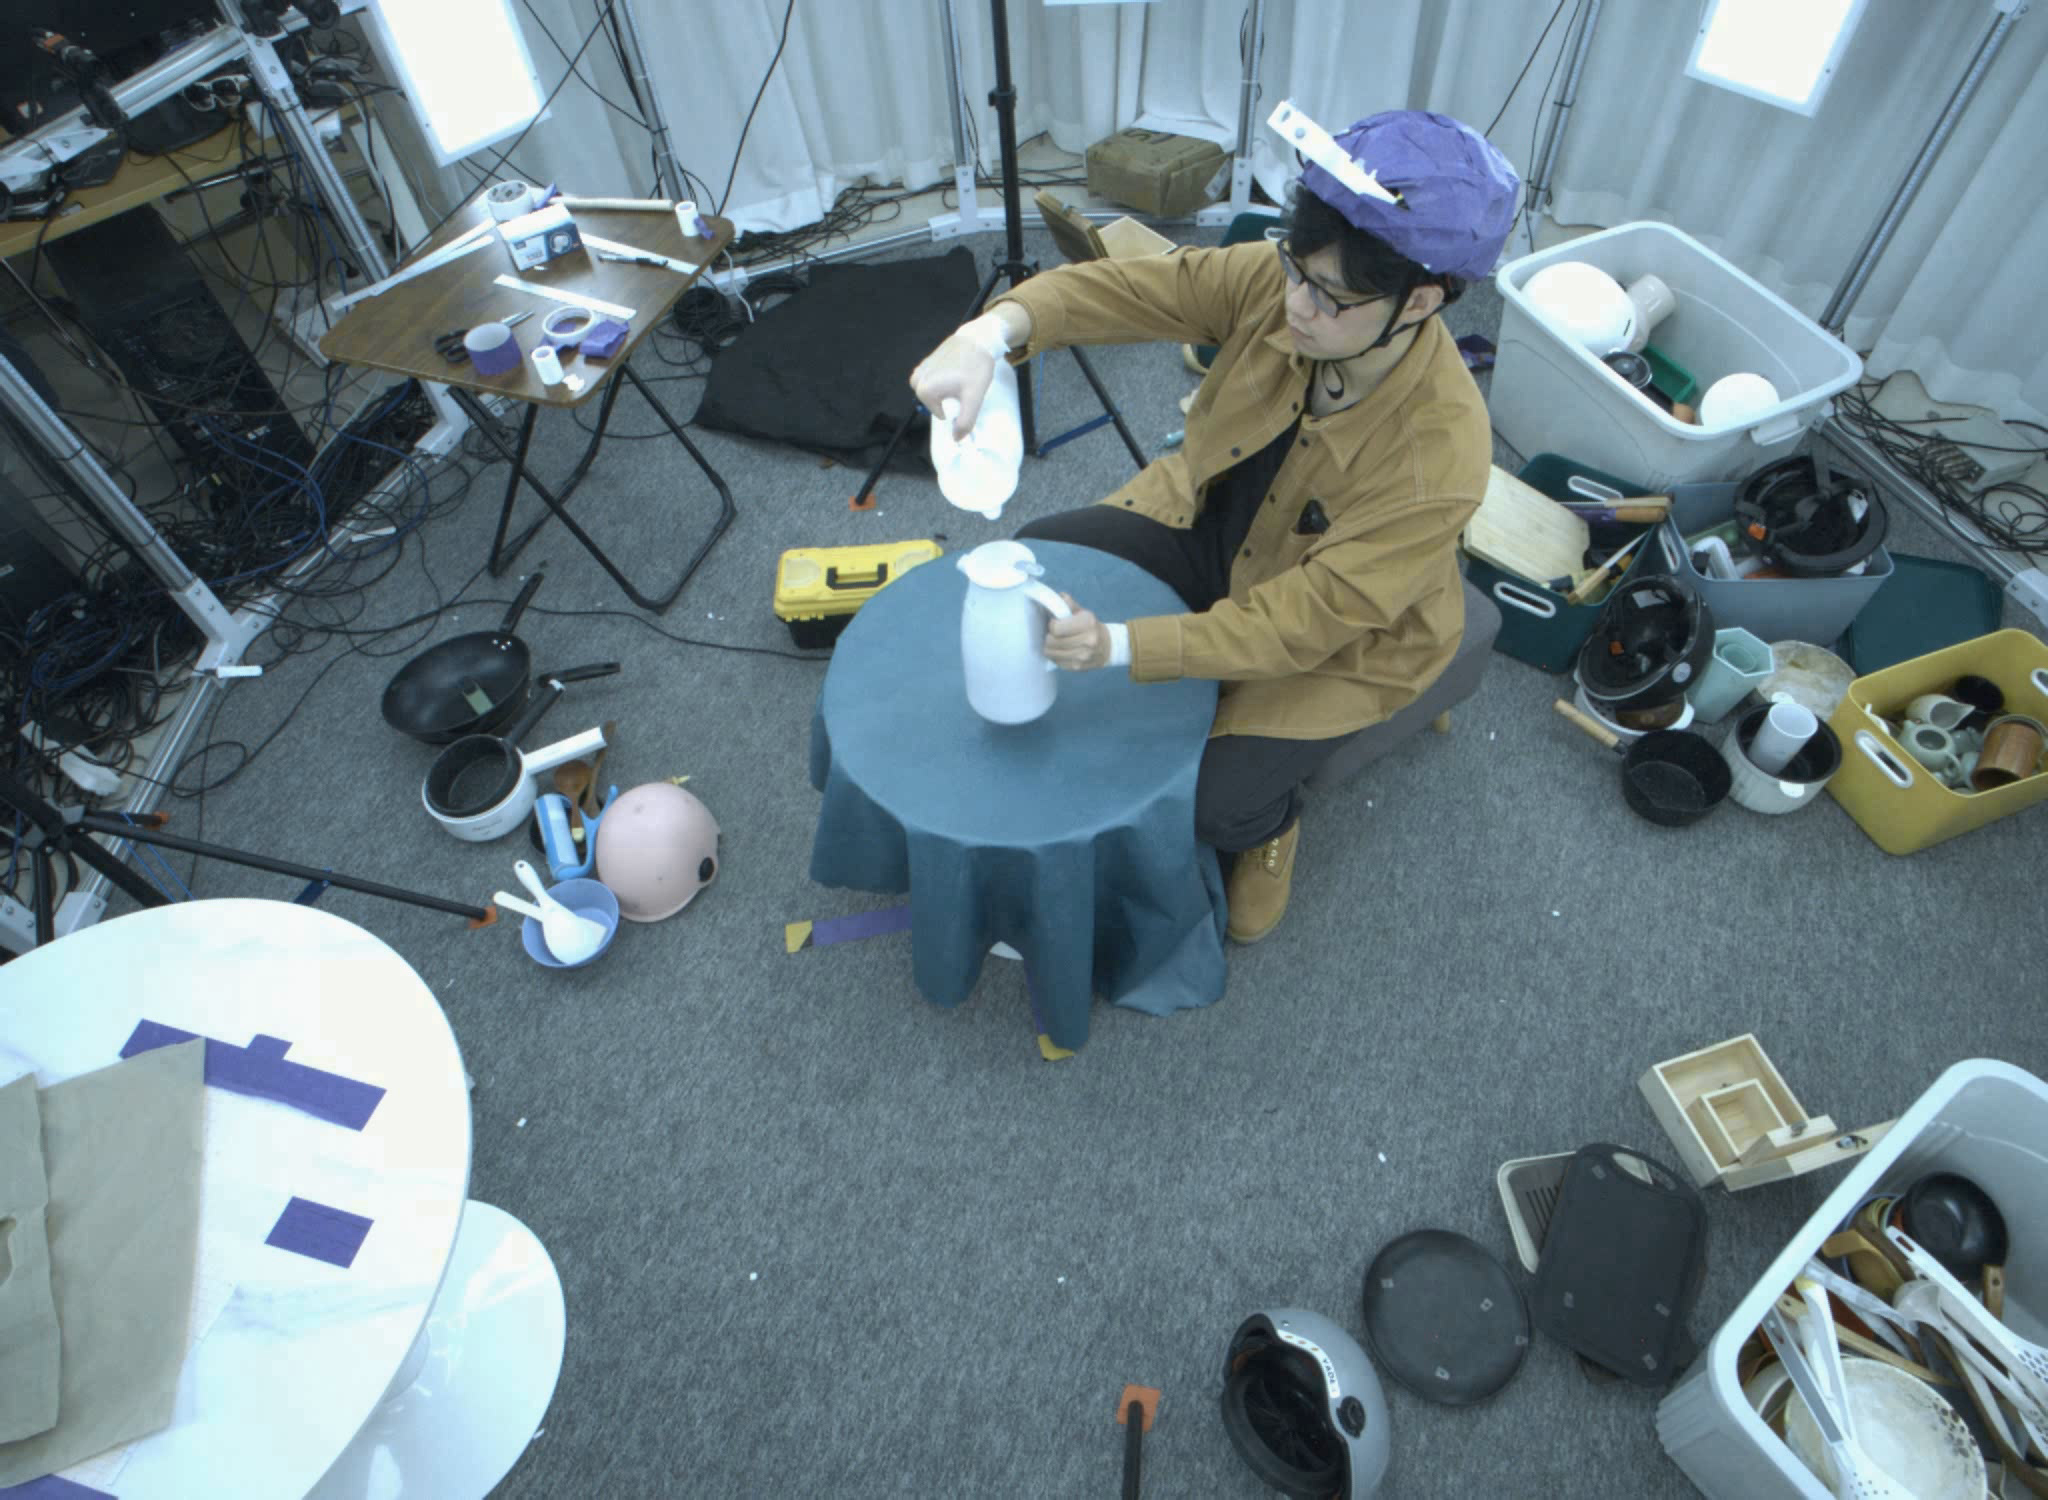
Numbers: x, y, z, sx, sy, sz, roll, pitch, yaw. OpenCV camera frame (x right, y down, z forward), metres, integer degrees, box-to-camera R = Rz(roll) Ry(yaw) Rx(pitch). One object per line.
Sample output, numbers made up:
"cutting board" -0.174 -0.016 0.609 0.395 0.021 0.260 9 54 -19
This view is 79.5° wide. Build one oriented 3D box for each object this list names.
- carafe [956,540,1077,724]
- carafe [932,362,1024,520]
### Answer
"carafe" -0.007 -0.160 1.656 0.165 0.251 0.133 20 55 19
"carafe" -0.070 -0.430 1.567 0.123 0.176 0.265 -15 40 11
